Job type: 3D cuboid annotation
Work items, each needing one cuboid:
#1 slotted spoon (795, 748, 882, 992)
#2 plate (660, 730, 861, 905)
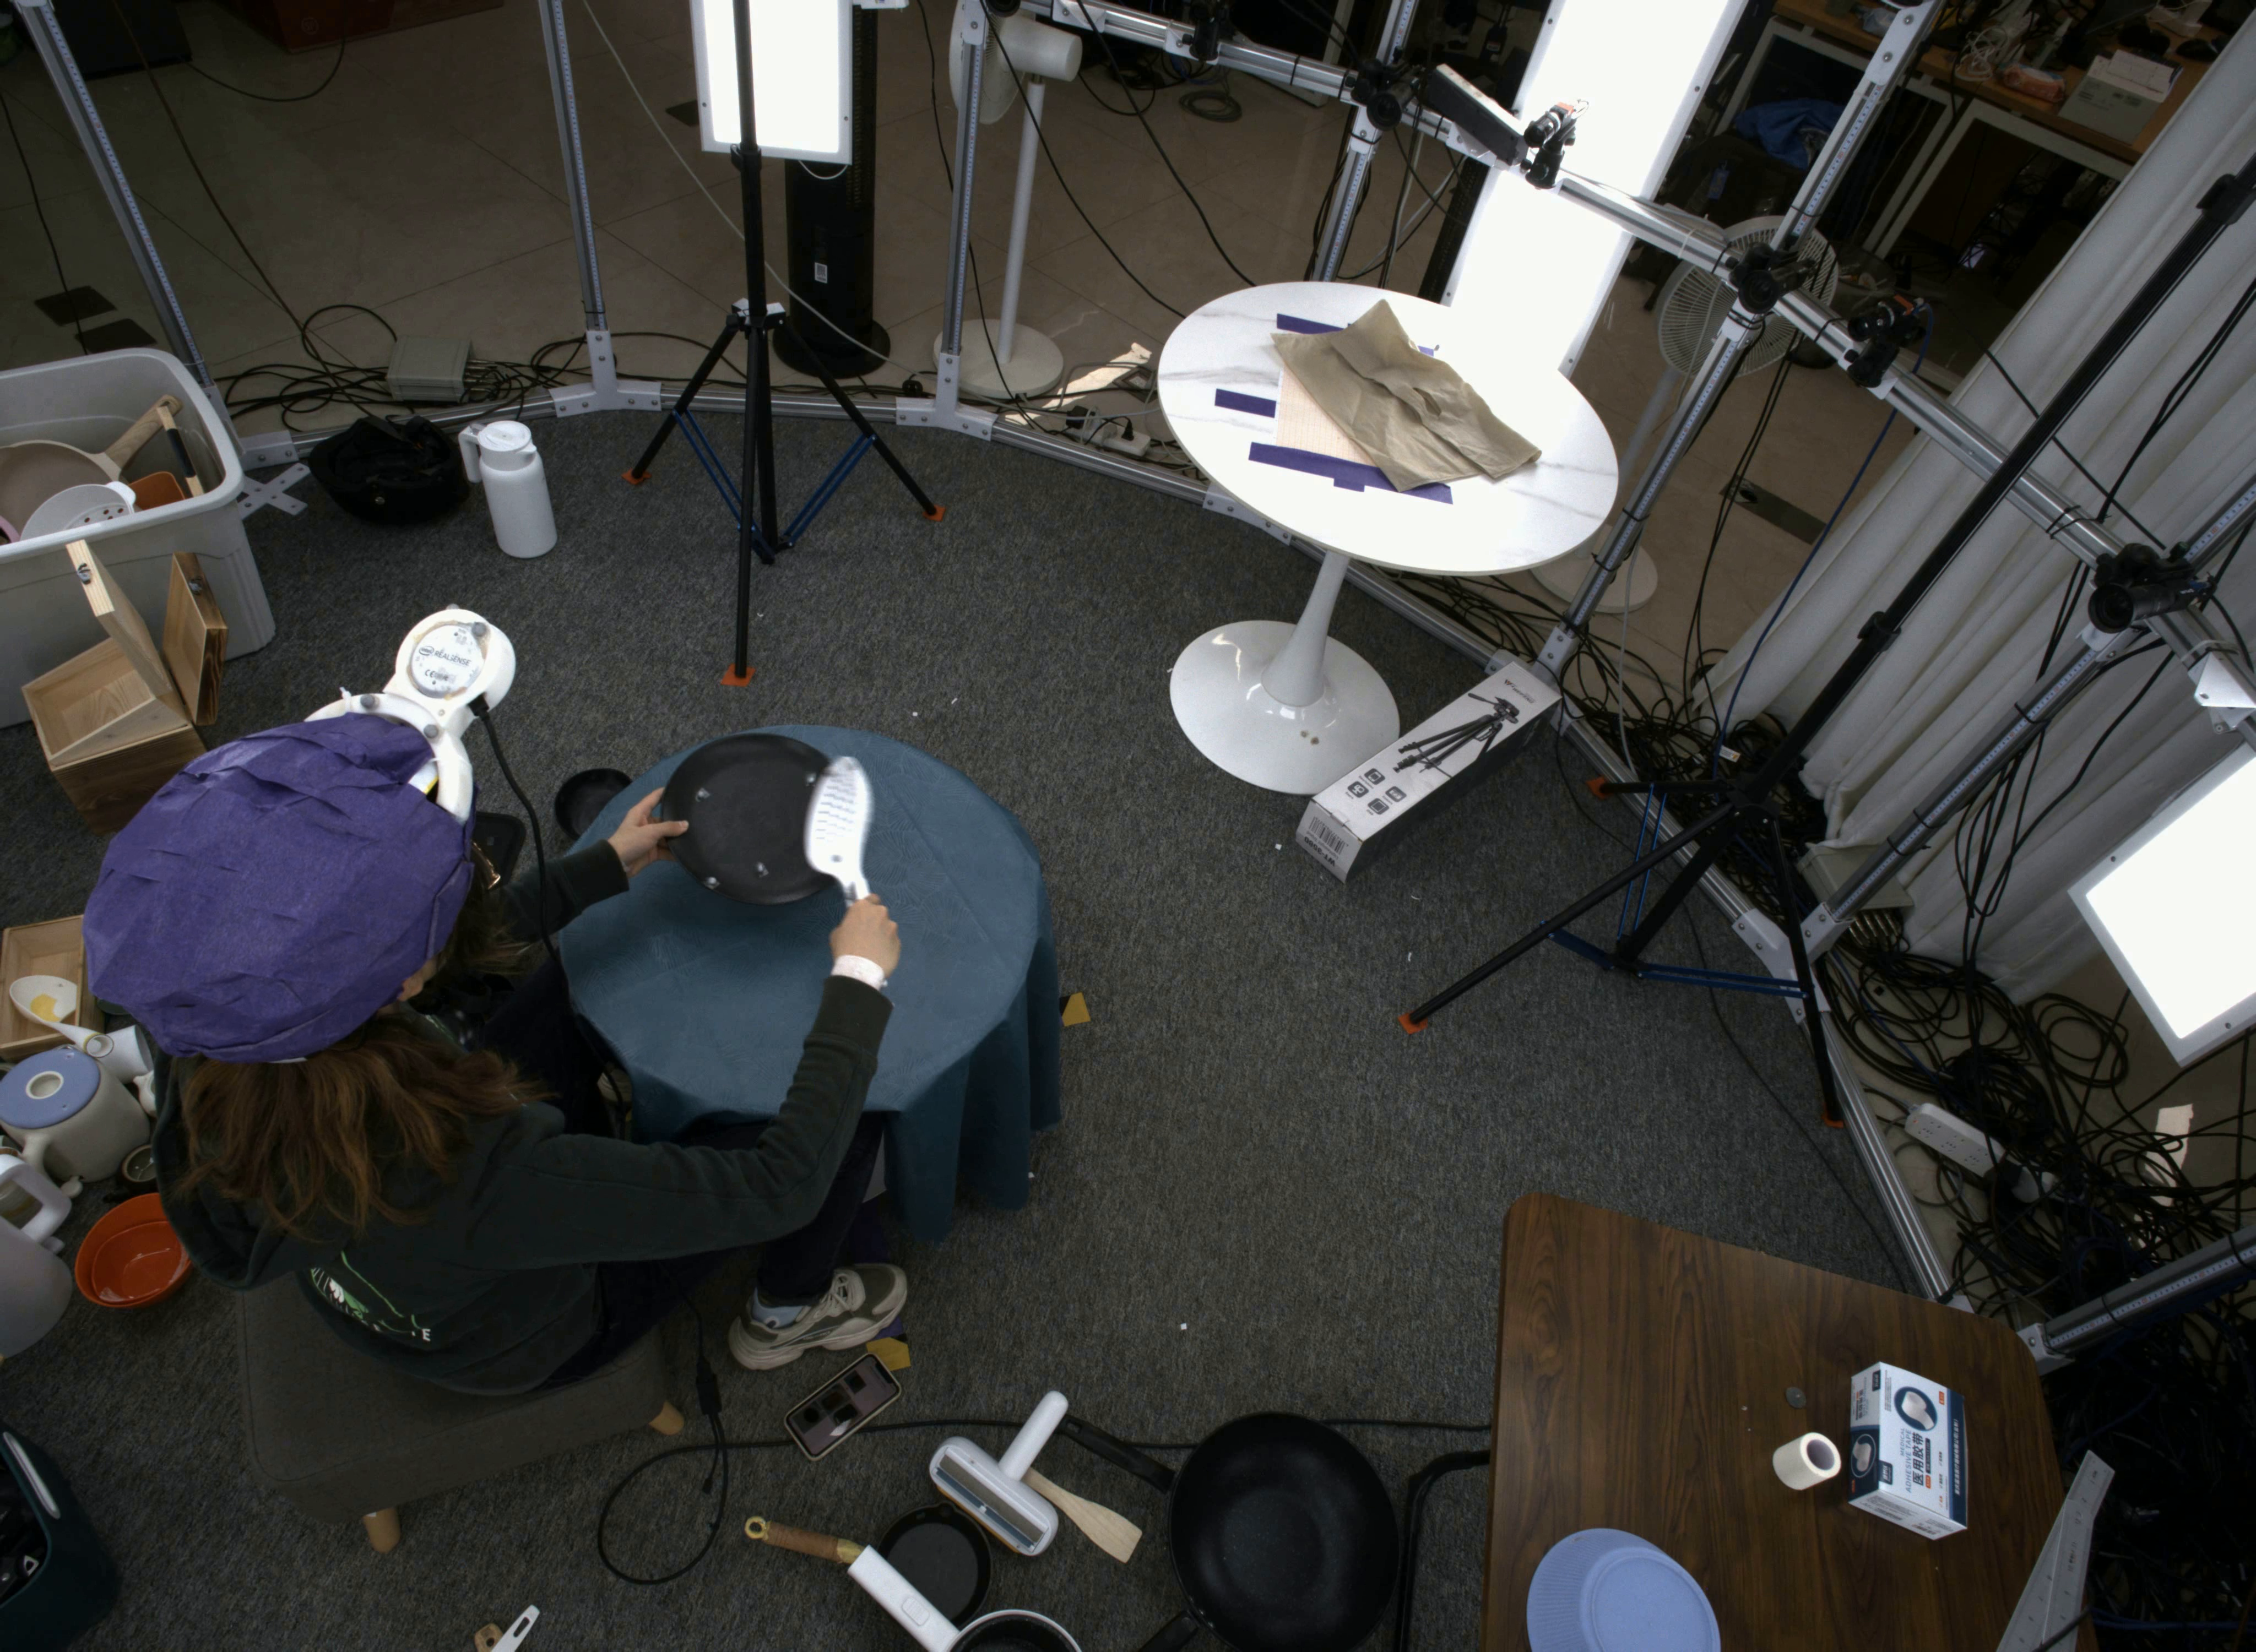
[{"bbox_3d":[-0.317,0.047,1.435,0.047,0.137,0.339,15,33,-31],"label":"slotted spoon"},{"bbox_3d":[-0.454,-0.010,1.602,0.246,0.023,0.241,12,59,-18],"label":"plate"}]
